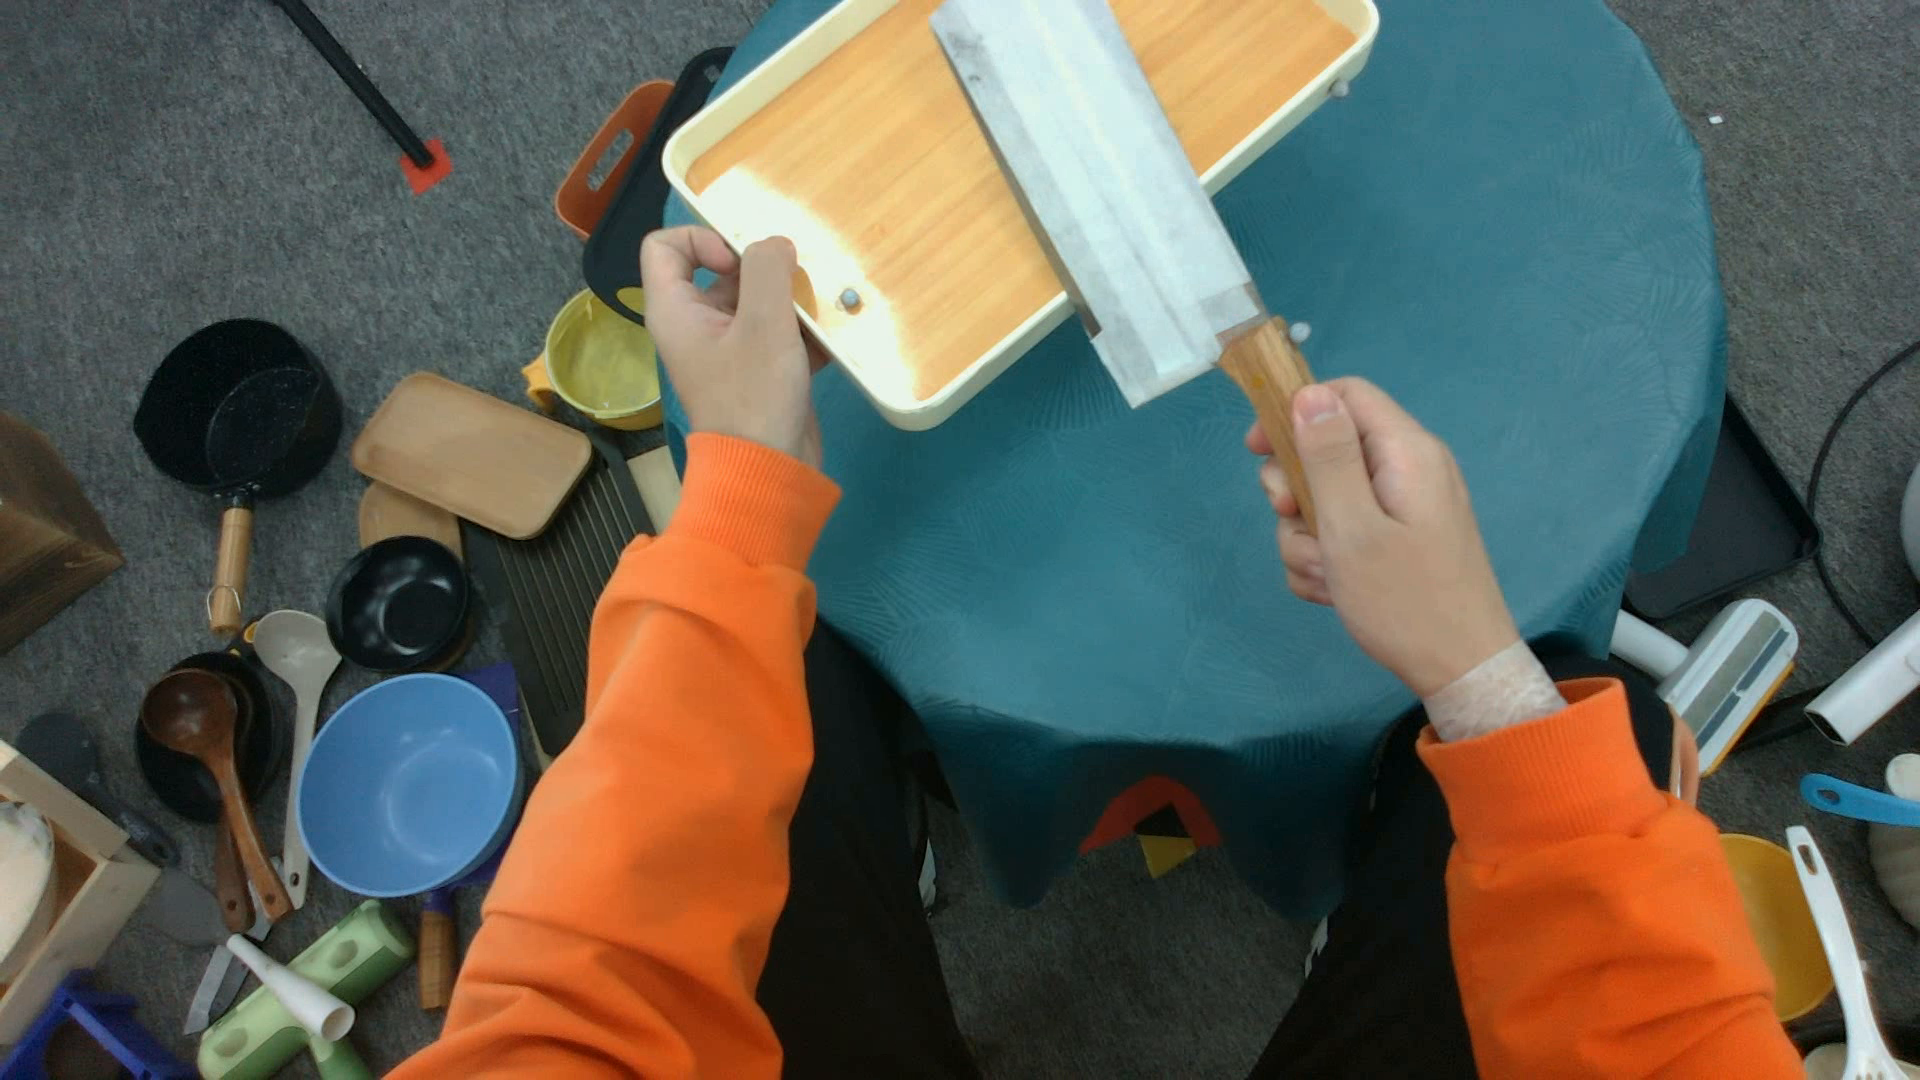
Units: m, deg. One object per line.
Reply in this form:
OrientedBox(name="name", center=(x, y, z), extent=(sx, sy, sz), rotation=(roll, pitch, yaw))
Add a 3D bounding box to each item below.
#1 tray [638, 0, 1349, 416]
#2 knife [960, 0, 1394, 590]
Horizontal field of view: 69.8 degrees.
OrientedBox(name="tray", center=(0.016, -0.213, 0.654), extent=(0.301, 0.027, 0.192), rotation=(-41, 74, -10))
OrientedBox(name="knife", center=(0.082, -0.111, 0.571), extent=(0.021, 0.092, 0.305), rotation=(-30, 94, -39))
